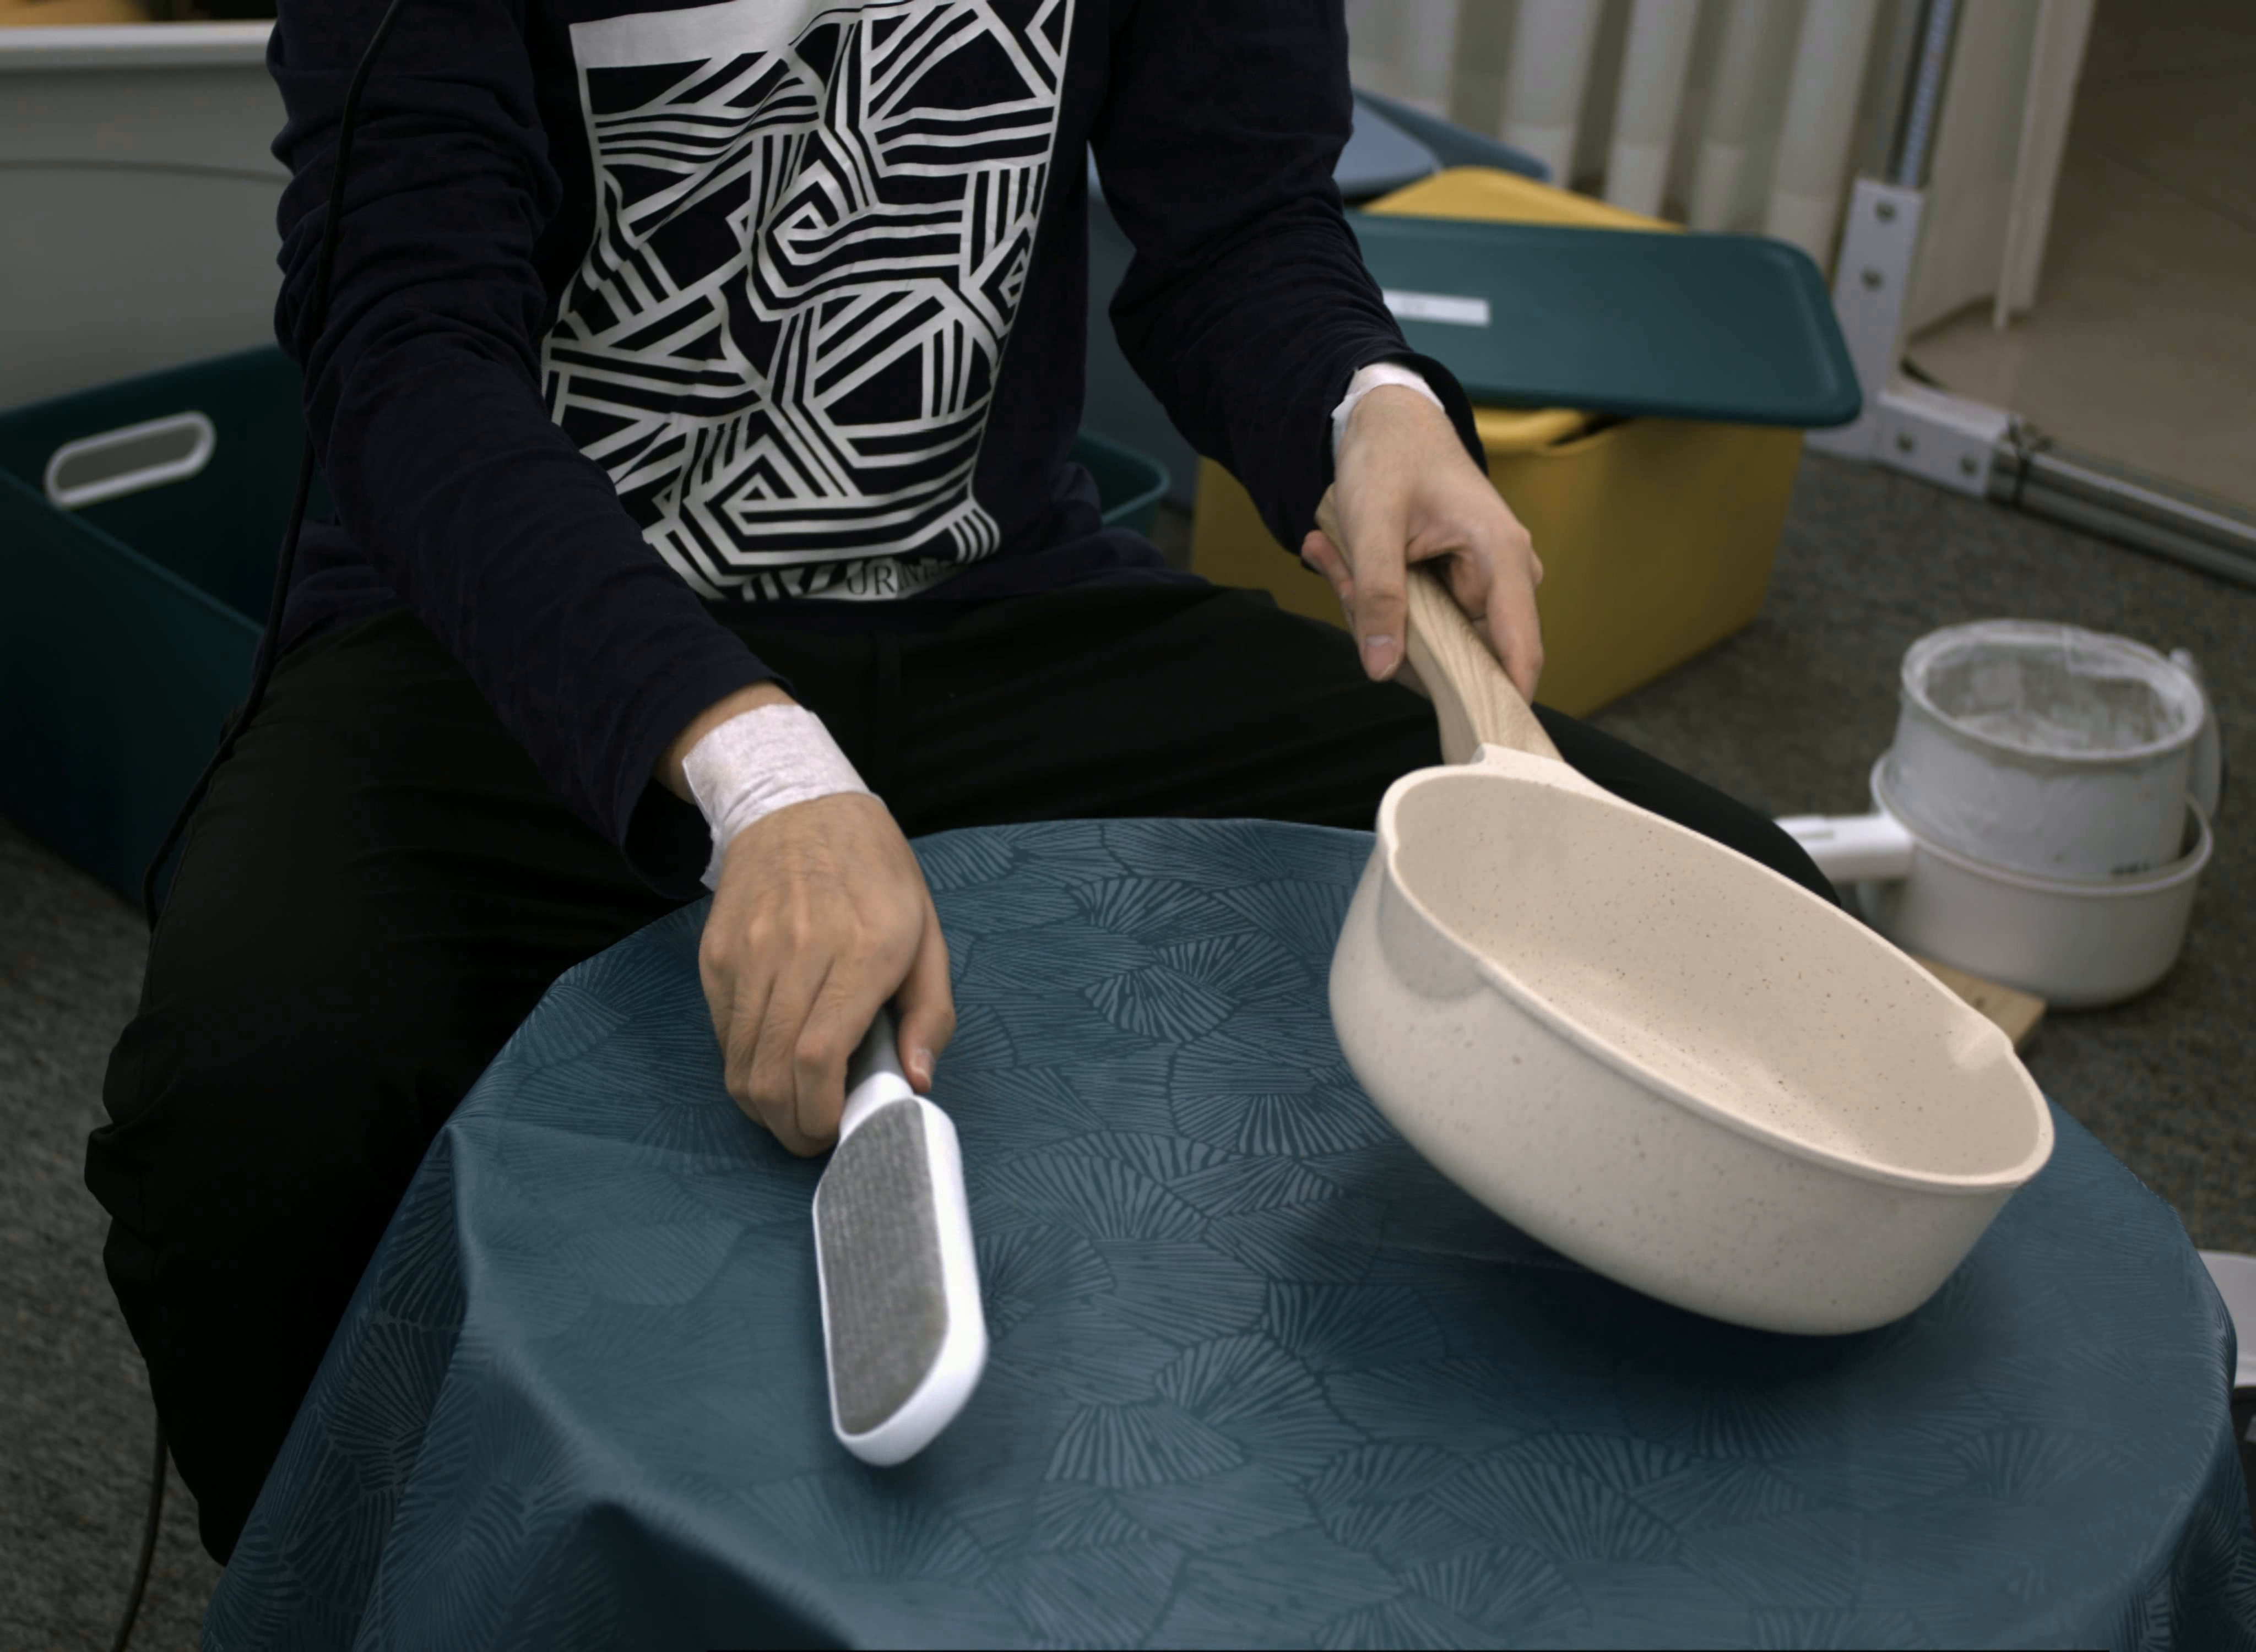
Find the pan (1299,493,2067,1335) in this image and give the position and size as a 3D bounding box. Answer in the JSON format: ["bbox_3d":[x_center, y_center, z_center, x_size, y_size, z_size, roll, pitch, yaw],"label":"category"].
[{"bbox_3d":[0.149,0.028,1.853,0.261,0.102,0.439,9,26,-31],"label":"pan"}]

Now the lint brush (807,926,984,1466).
[{"bbox_3d":[-0.081,0.112,1.744,0.021,0.060,0.311,40,16,-23],"label":"lint brush"}]
